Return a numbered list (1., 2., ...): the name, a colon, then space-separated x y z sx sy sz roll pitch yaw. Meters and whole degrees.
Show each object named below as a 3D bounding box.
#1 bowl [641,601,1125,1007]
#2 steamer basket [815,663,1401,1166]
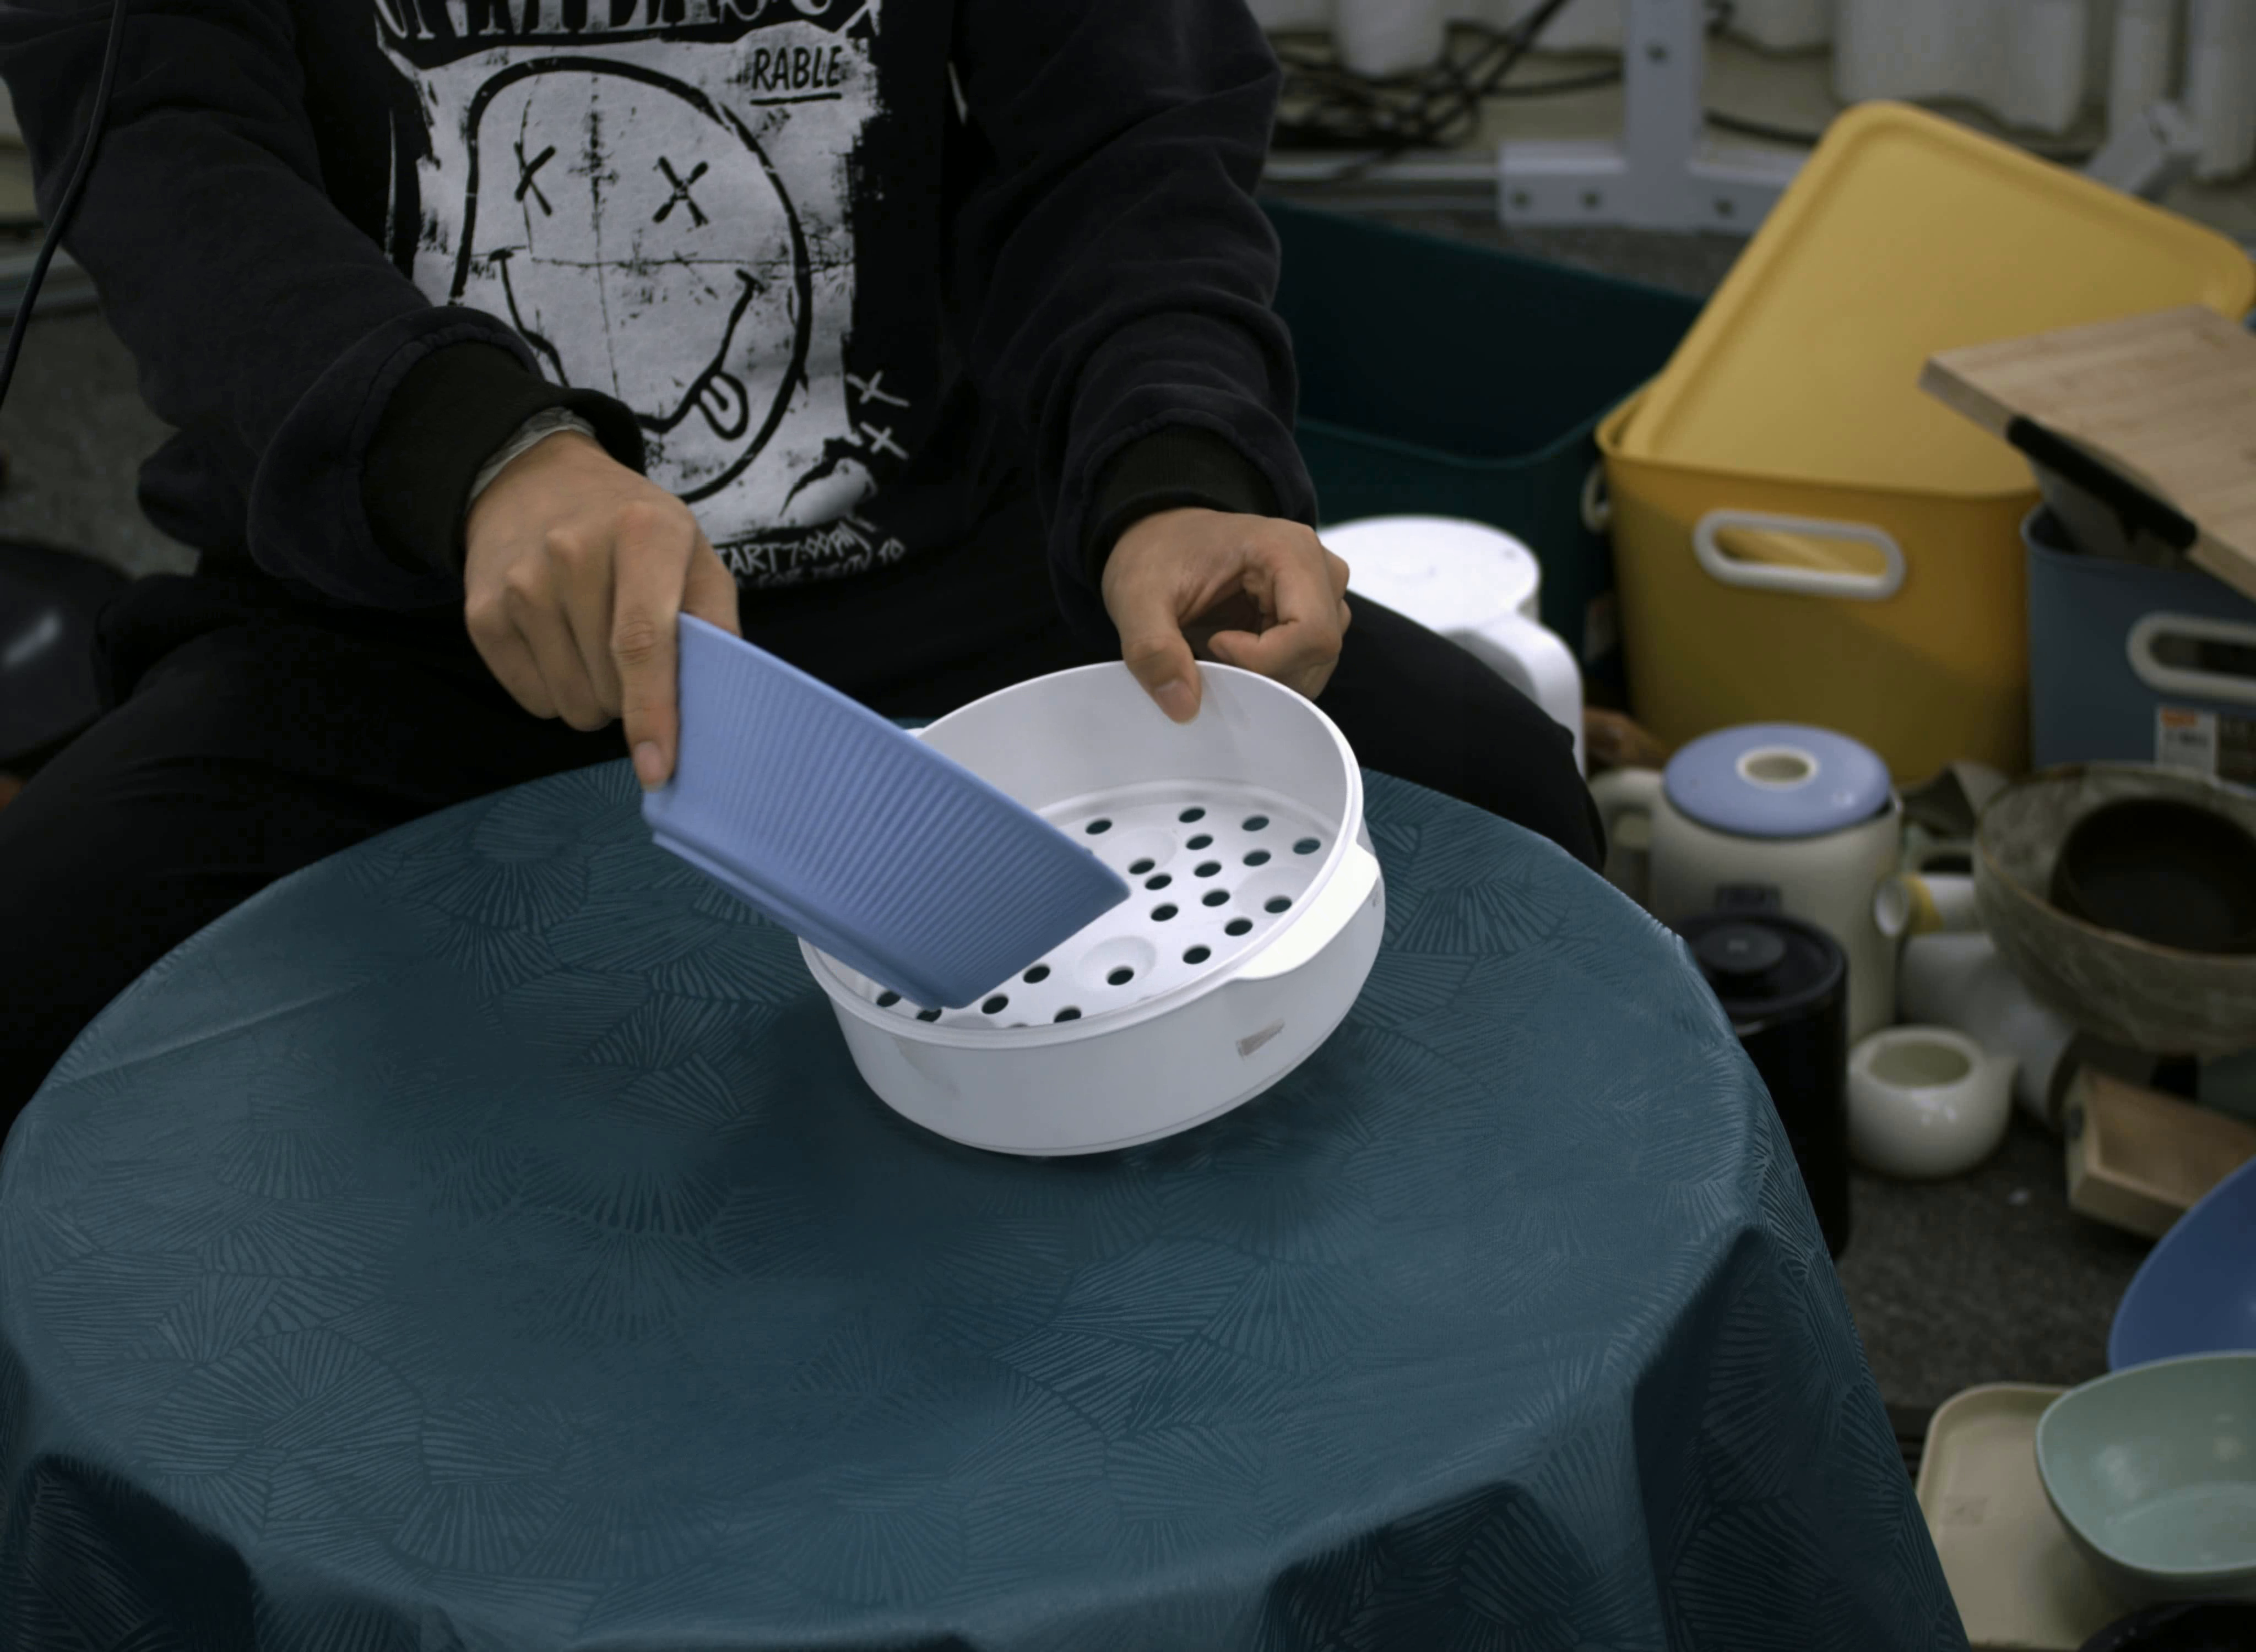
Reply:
1. bowl: -0.091 0.001 1.818 0.176 0.175 0.071 26 81 43
2. steamer basket: -0.005 0.031 1.926 0.229 0.068 0.205 16 47 35
